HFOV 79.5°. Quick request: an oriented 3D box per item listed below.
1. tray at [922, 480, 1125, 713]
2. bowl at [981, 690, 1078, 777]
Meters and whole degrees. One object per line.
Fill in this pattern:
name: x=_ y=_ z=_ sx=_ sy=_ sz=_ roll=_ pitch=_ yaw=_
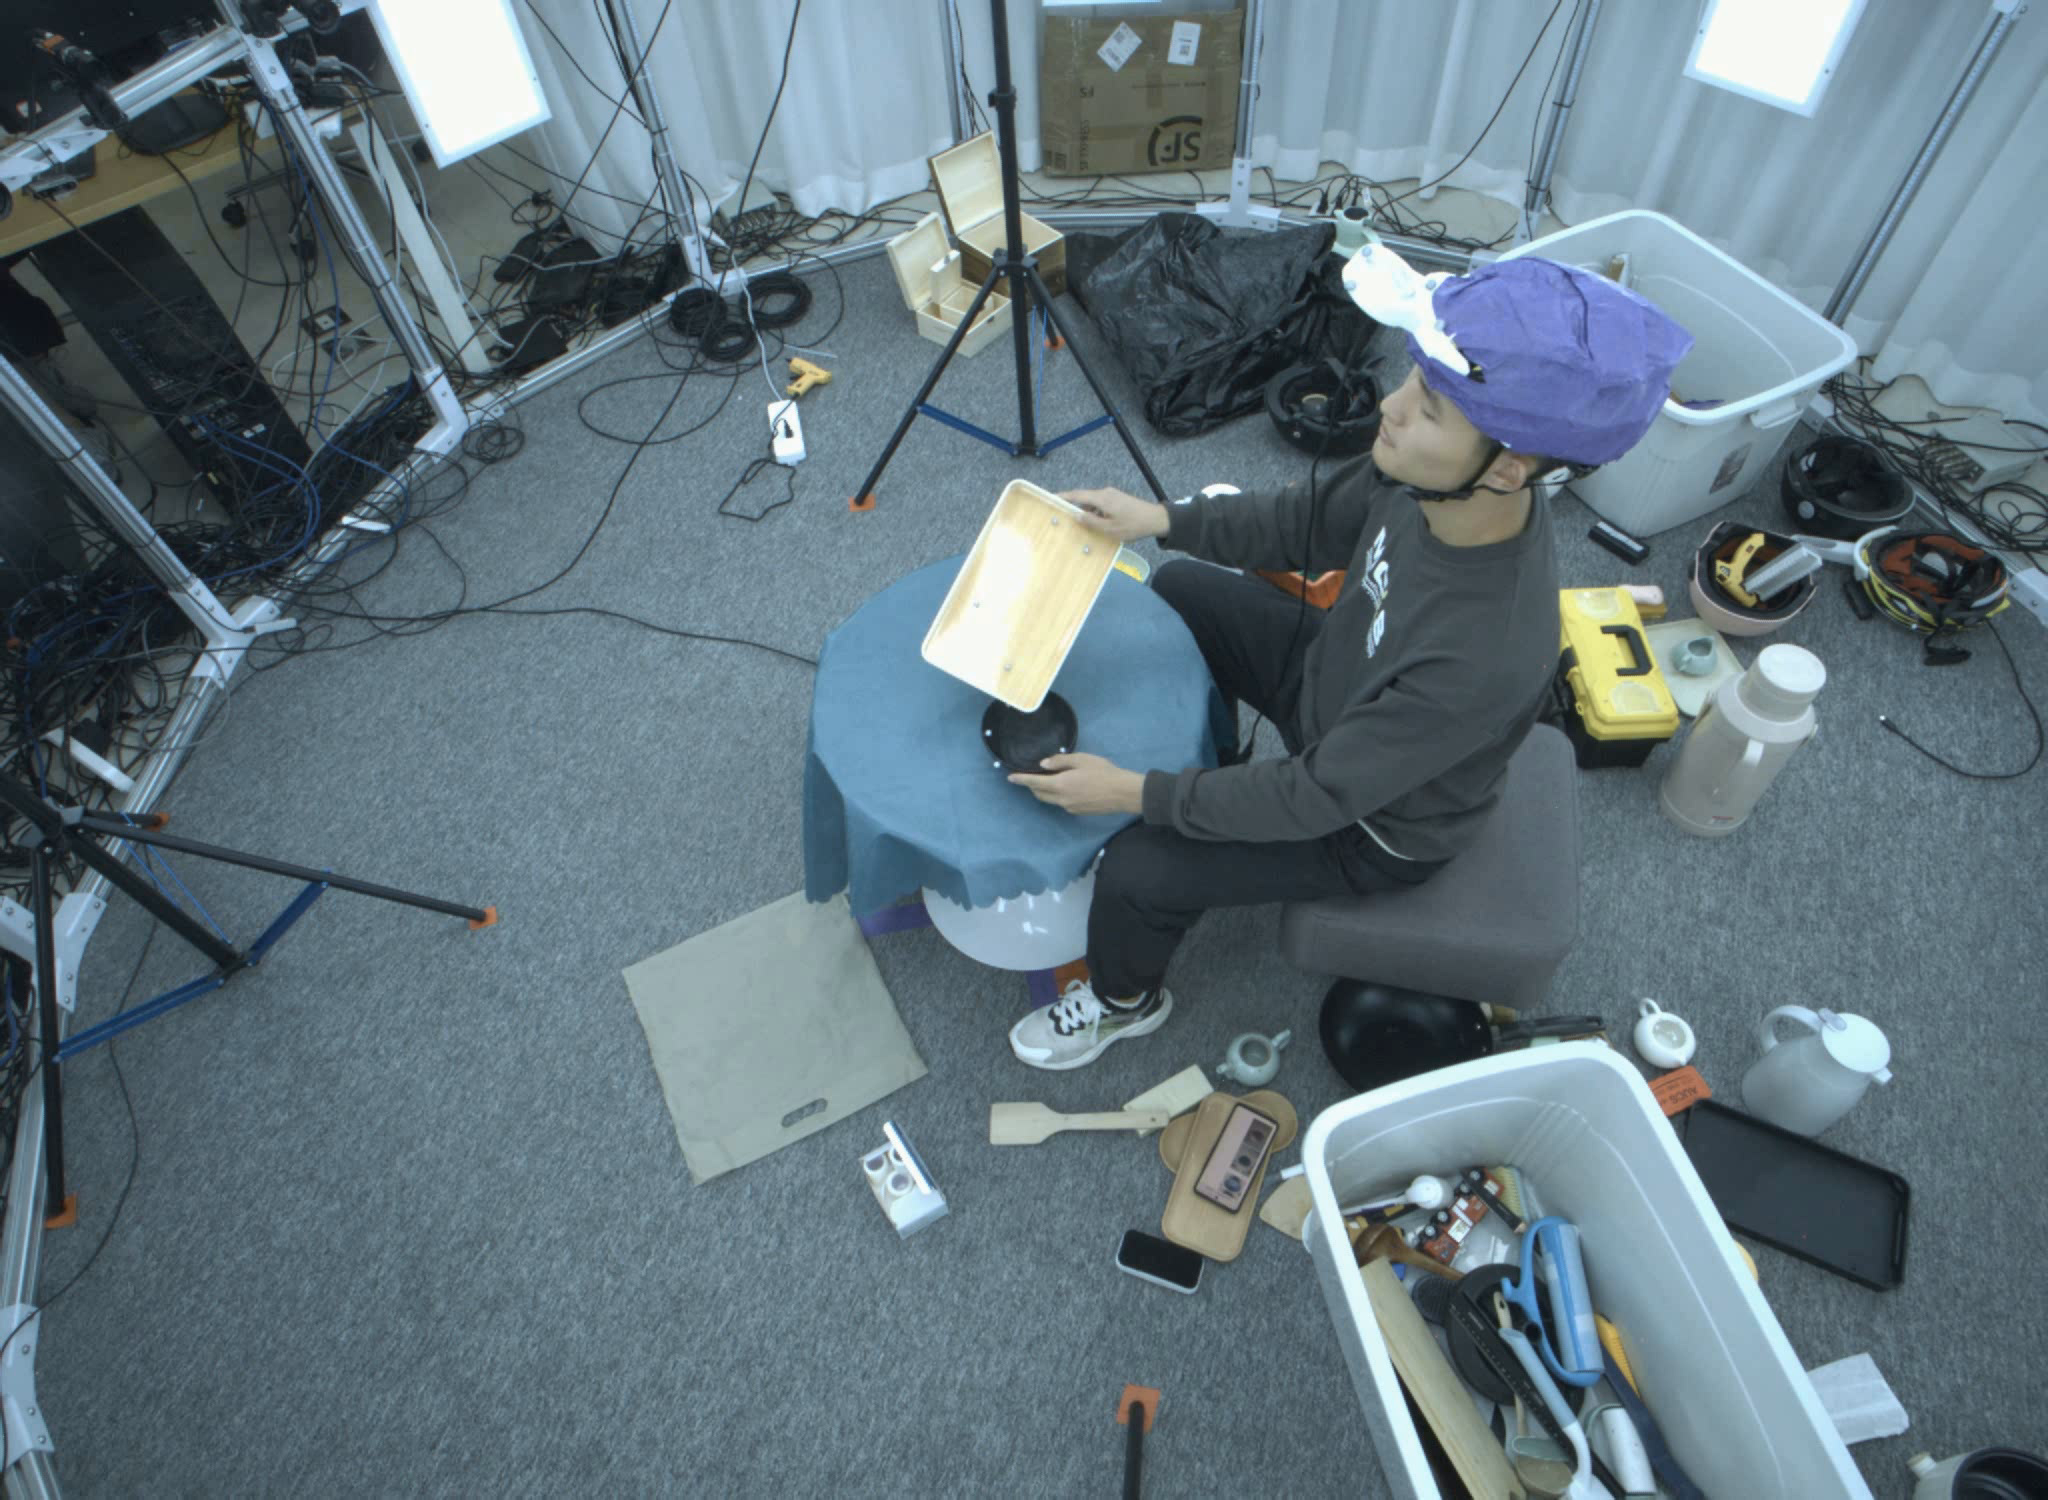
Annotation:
tray: x=0.000 y=-0.222 z=1.775 sx=0.192 sy=0.027 sz=0.300 roll=28 pitch=86 yaw=-1
bowl: x=0.009 y=-0.016 z=1.755 sx=0.138 sy=0.067 sz=0.167 roll=-10 pitch=47 yaw=-4
